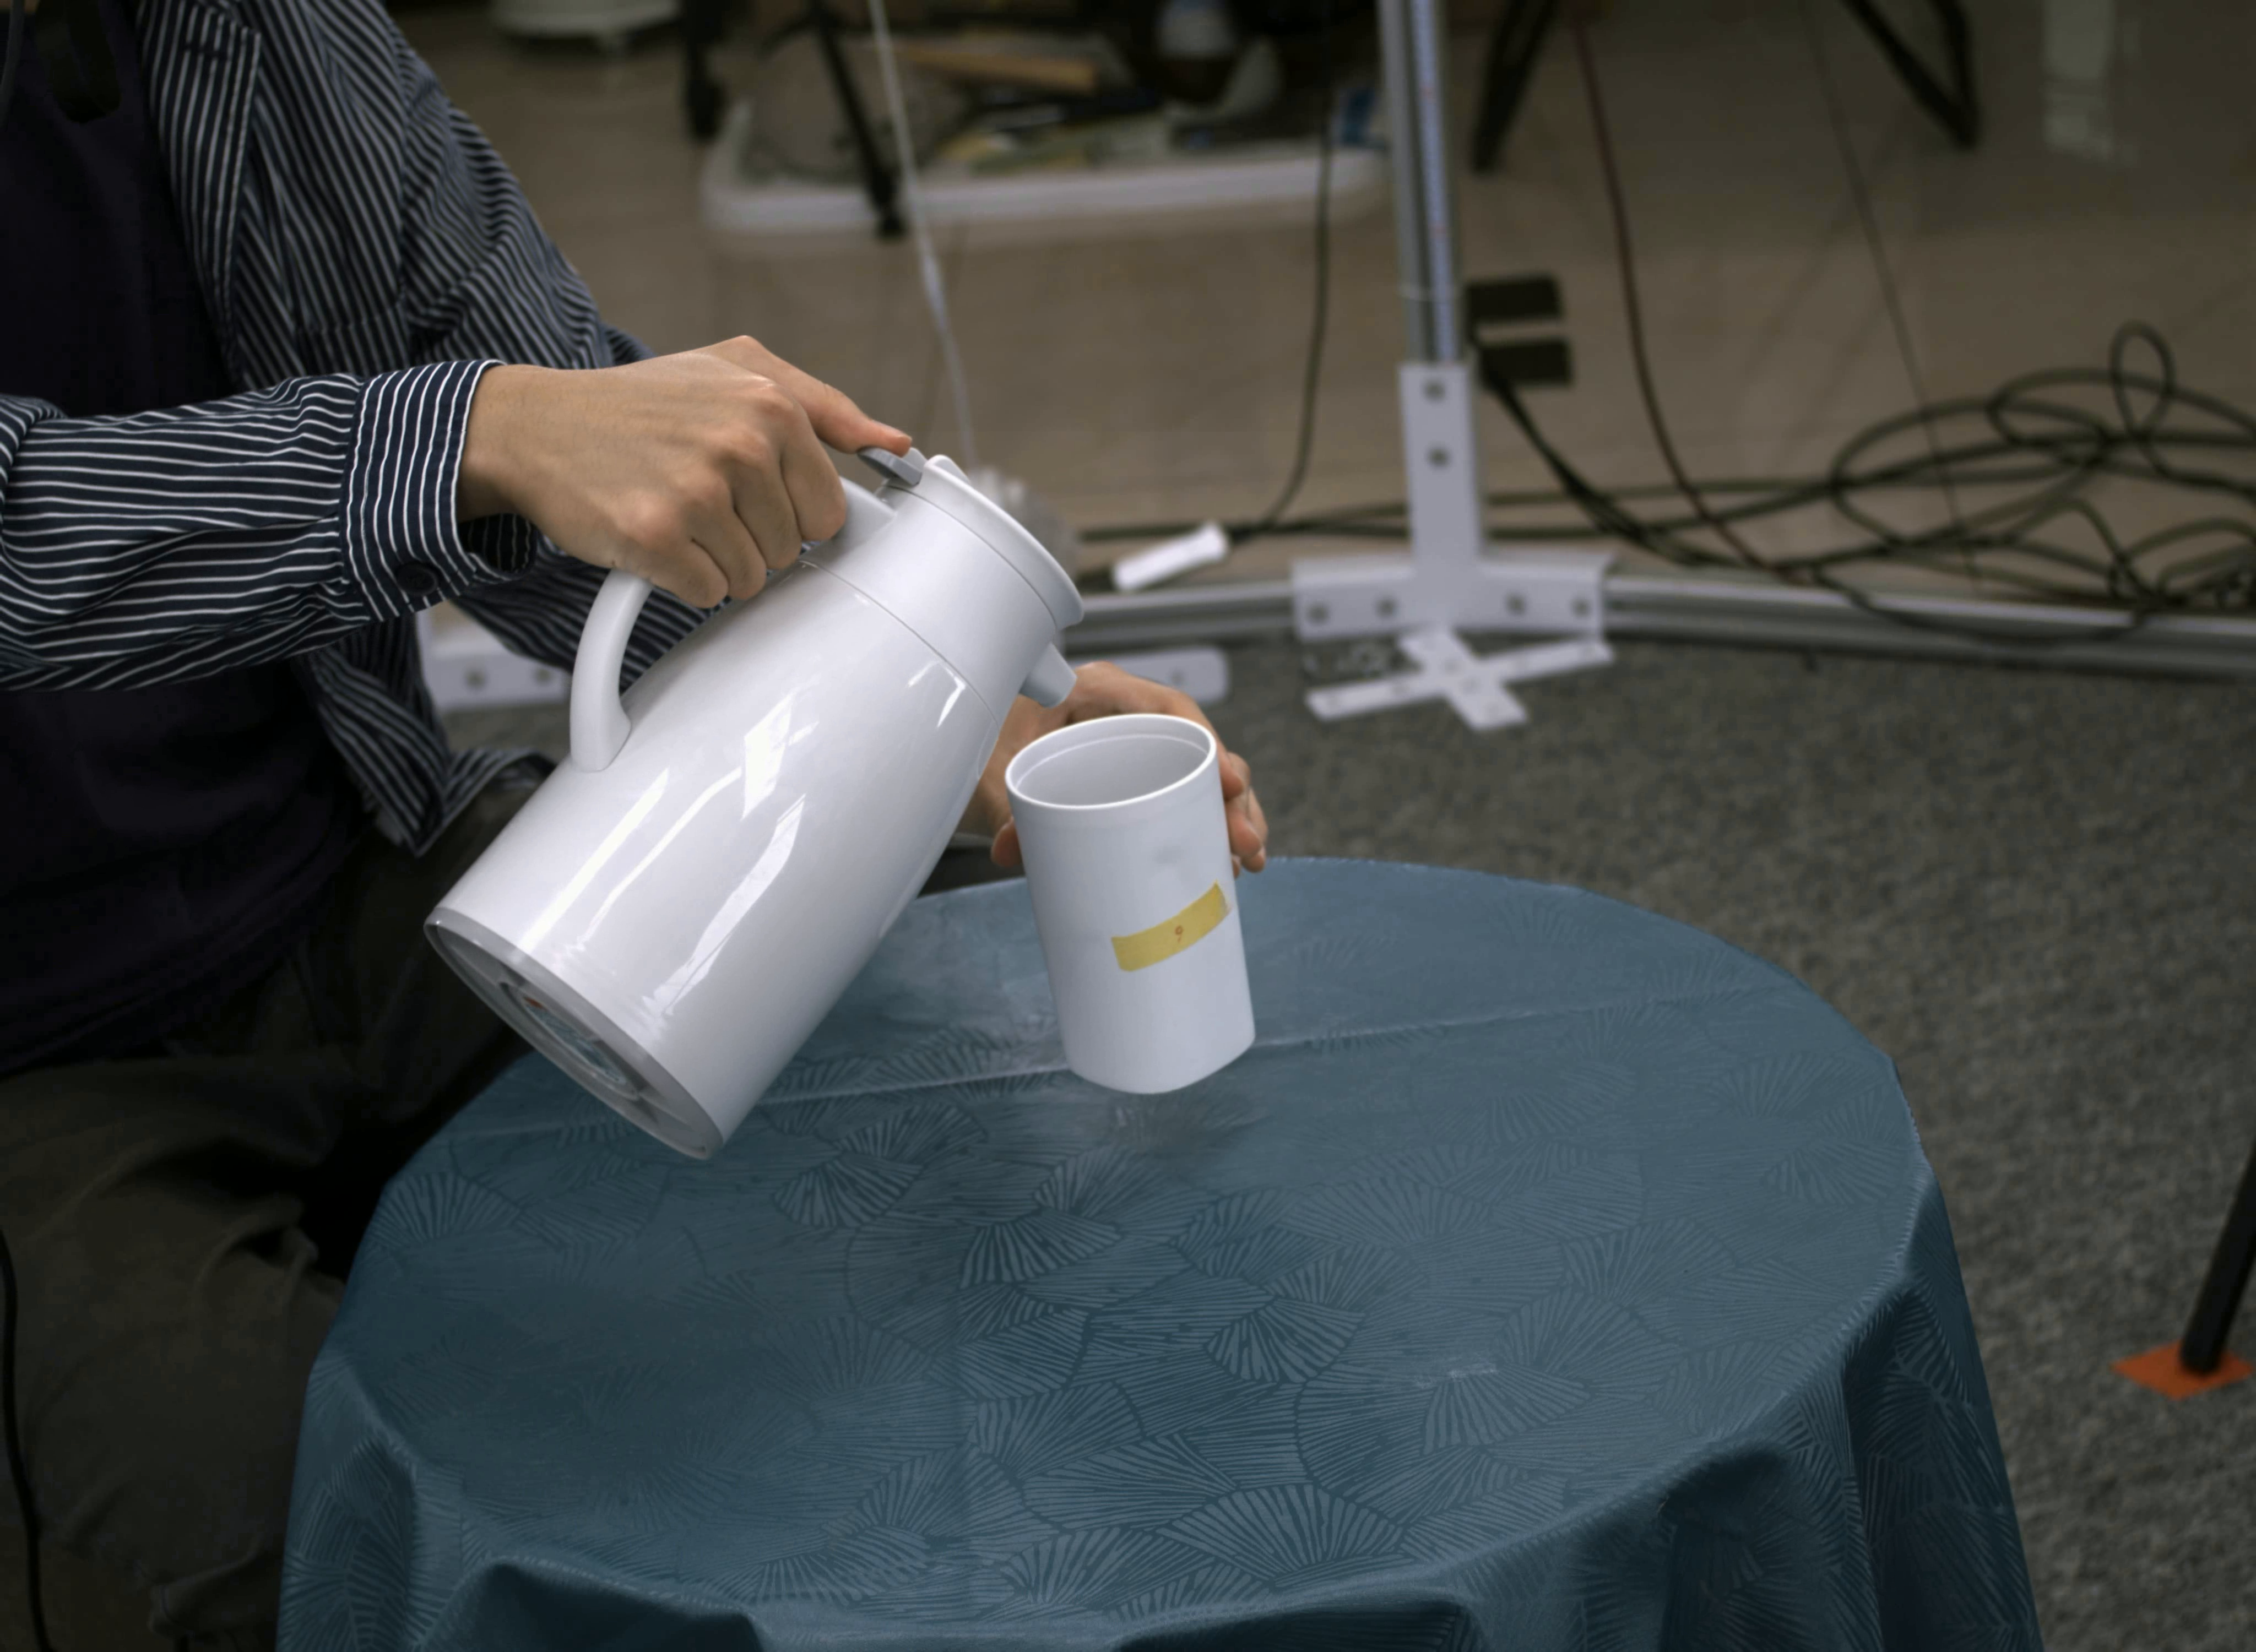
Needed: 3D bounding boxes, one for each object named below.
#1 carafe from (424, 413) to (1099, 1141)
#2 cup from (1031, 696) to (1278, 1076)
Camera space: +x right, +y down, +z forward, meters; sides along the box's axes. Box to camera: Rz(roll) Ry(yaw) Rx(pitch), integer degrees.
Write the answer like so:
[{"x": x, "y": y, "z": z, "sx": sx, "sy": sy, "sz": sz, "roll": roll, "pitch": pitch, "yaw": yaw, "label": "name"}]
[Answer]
[{"x": -0.130, "y": -0.033, "z": 2.017, "sx": 0.247, "sy": 0.170, "sz": 0.131, "roll": -48, "pitch": 37, "yaw": -12, "label": "carafe"}, {"x": 0.013, "y": 0.024, "z": 2.152, "sx": 0.081, "sy": 0.127, "sz": 0.080, "roll": -8, "pitch": 27, "yaw": 4, "label": "cup"}]
